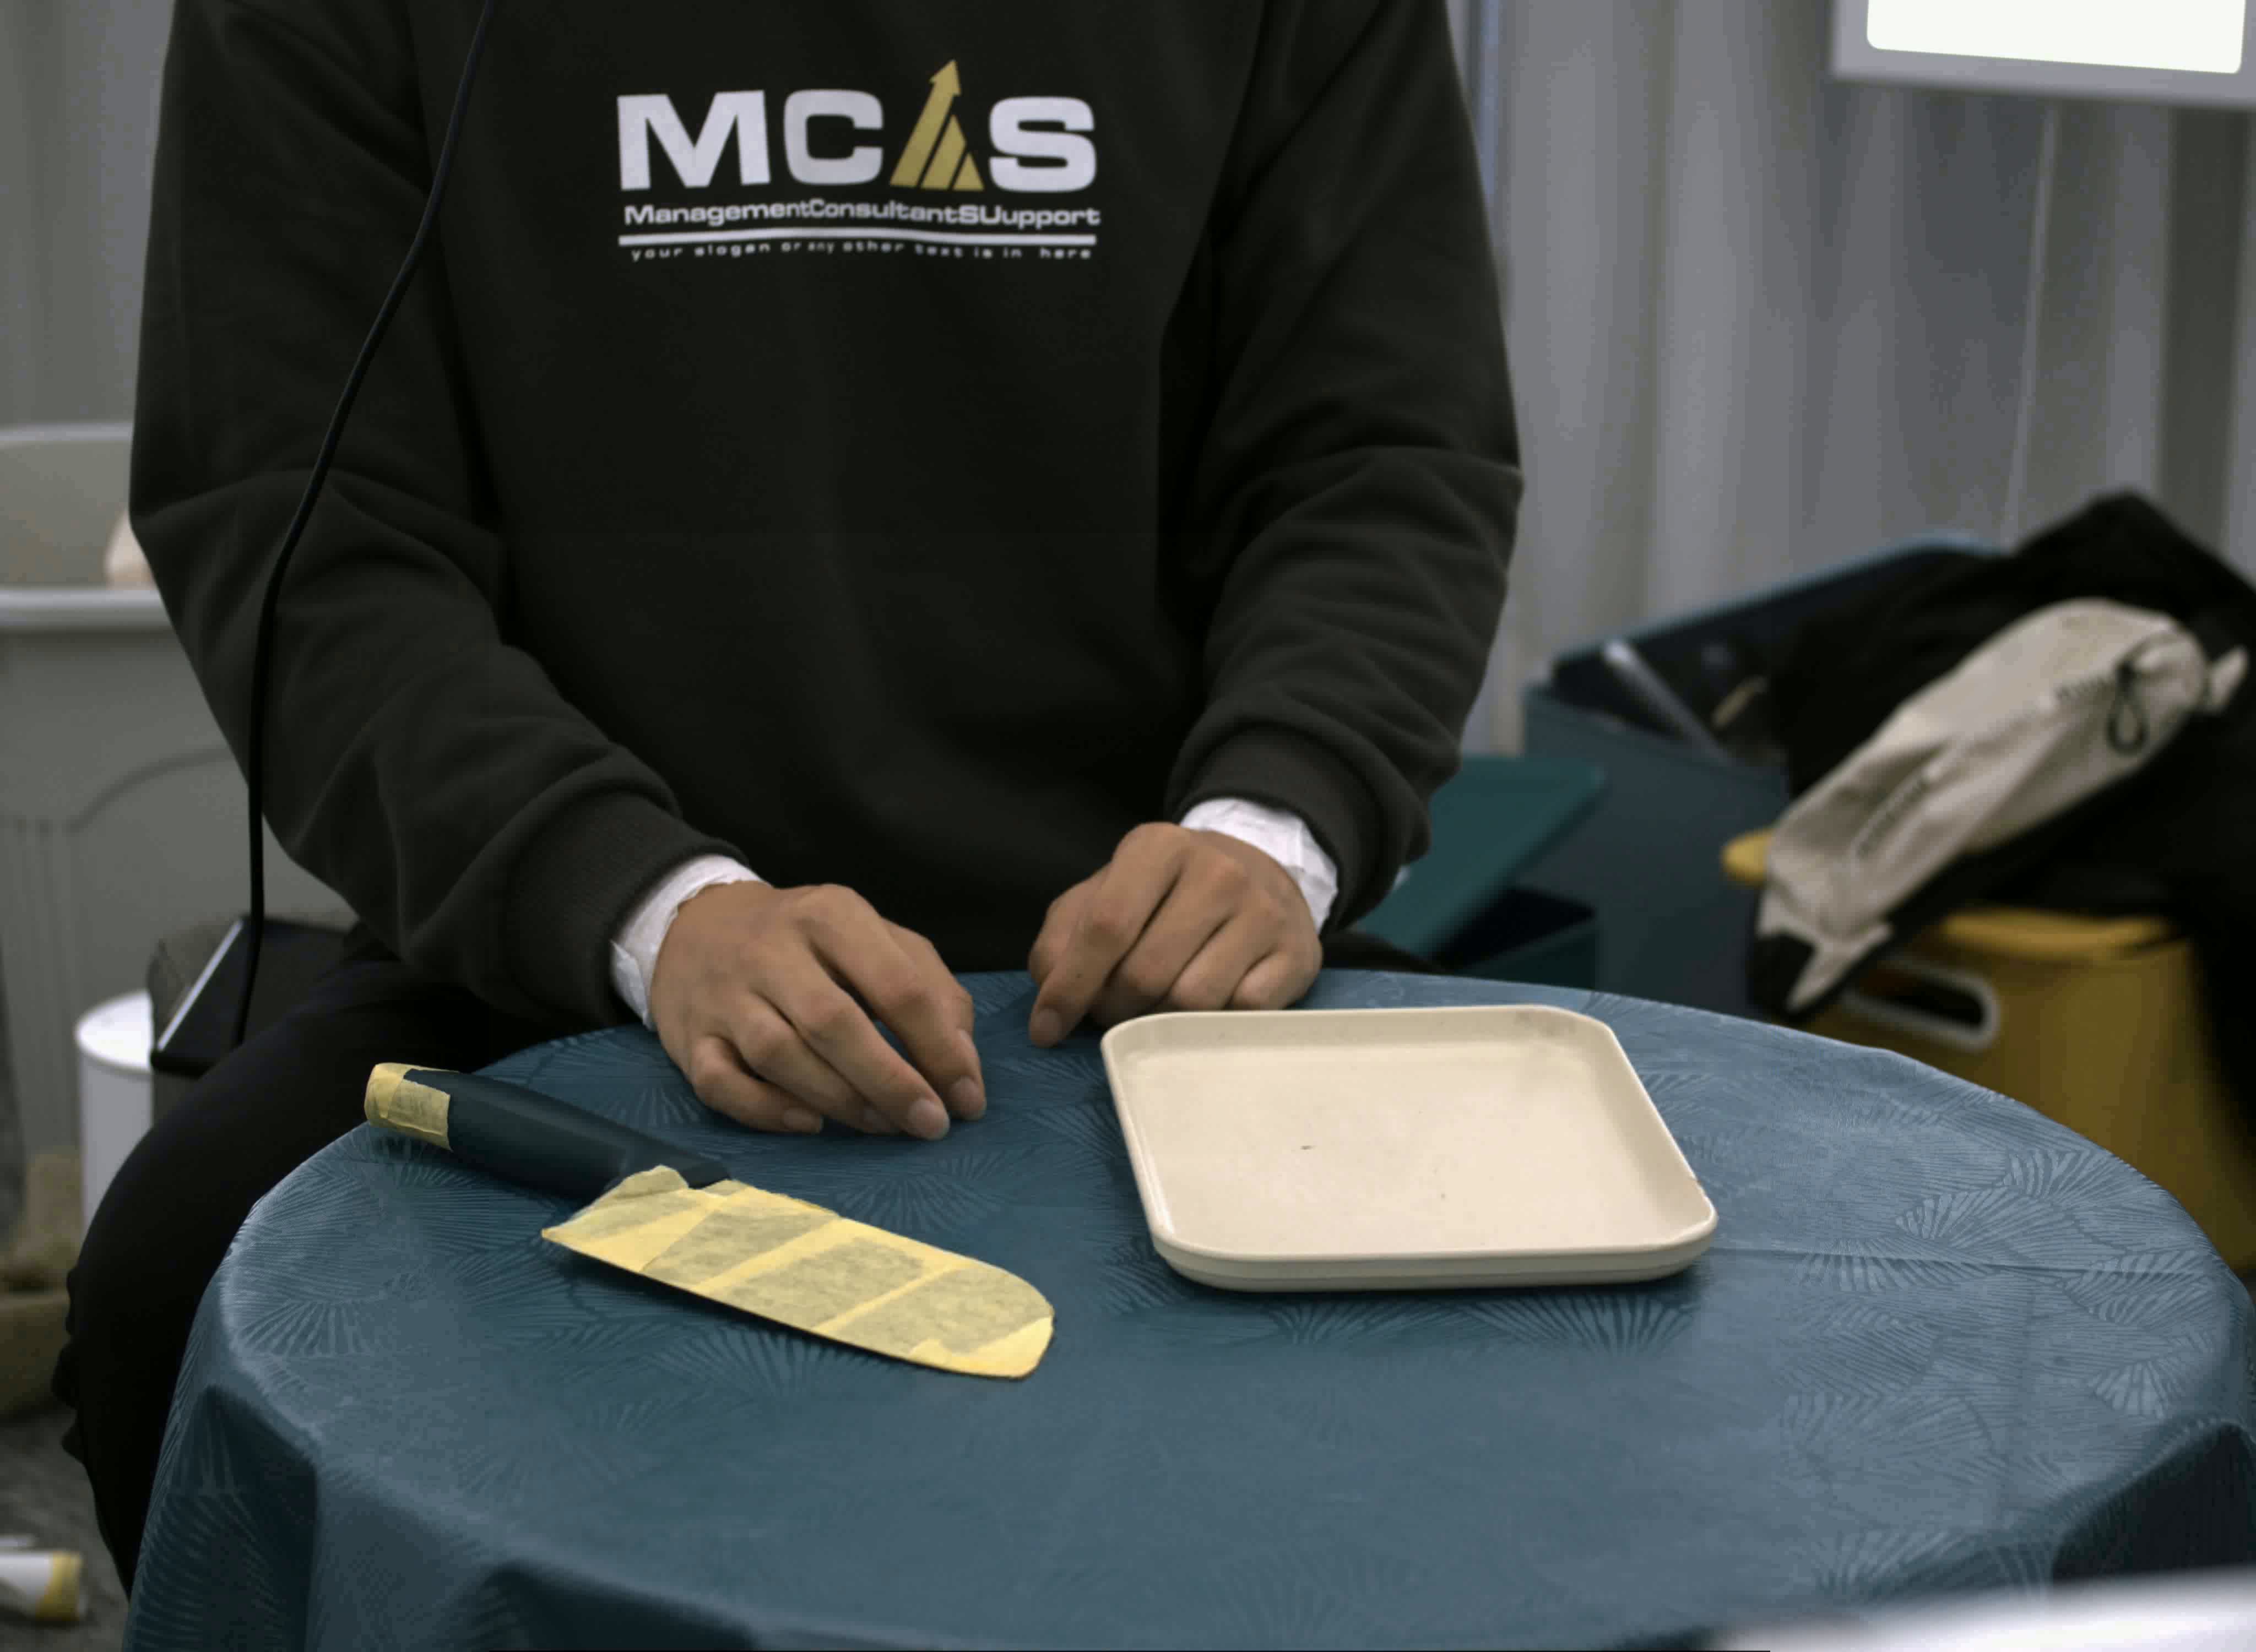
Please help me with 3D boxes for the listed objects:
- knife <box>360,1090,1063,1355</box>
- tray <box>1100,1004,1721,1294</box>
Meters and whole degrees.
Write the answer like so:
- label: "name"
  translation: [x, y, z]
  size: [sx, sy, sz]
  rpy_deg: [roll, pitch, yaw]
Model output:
- label: "knife"
  translation: [-0.133, 0.120, 1.567]
  size: [0.286, 0.027, 0.081]
  rpy_deg: [14, 18, 37]
- label: "tray"
  translation: [0.083, 0.099, 1.642]
  size: [0.171, 0.017, 0.238]
  rpy_deg: [-1, 15, -5]
